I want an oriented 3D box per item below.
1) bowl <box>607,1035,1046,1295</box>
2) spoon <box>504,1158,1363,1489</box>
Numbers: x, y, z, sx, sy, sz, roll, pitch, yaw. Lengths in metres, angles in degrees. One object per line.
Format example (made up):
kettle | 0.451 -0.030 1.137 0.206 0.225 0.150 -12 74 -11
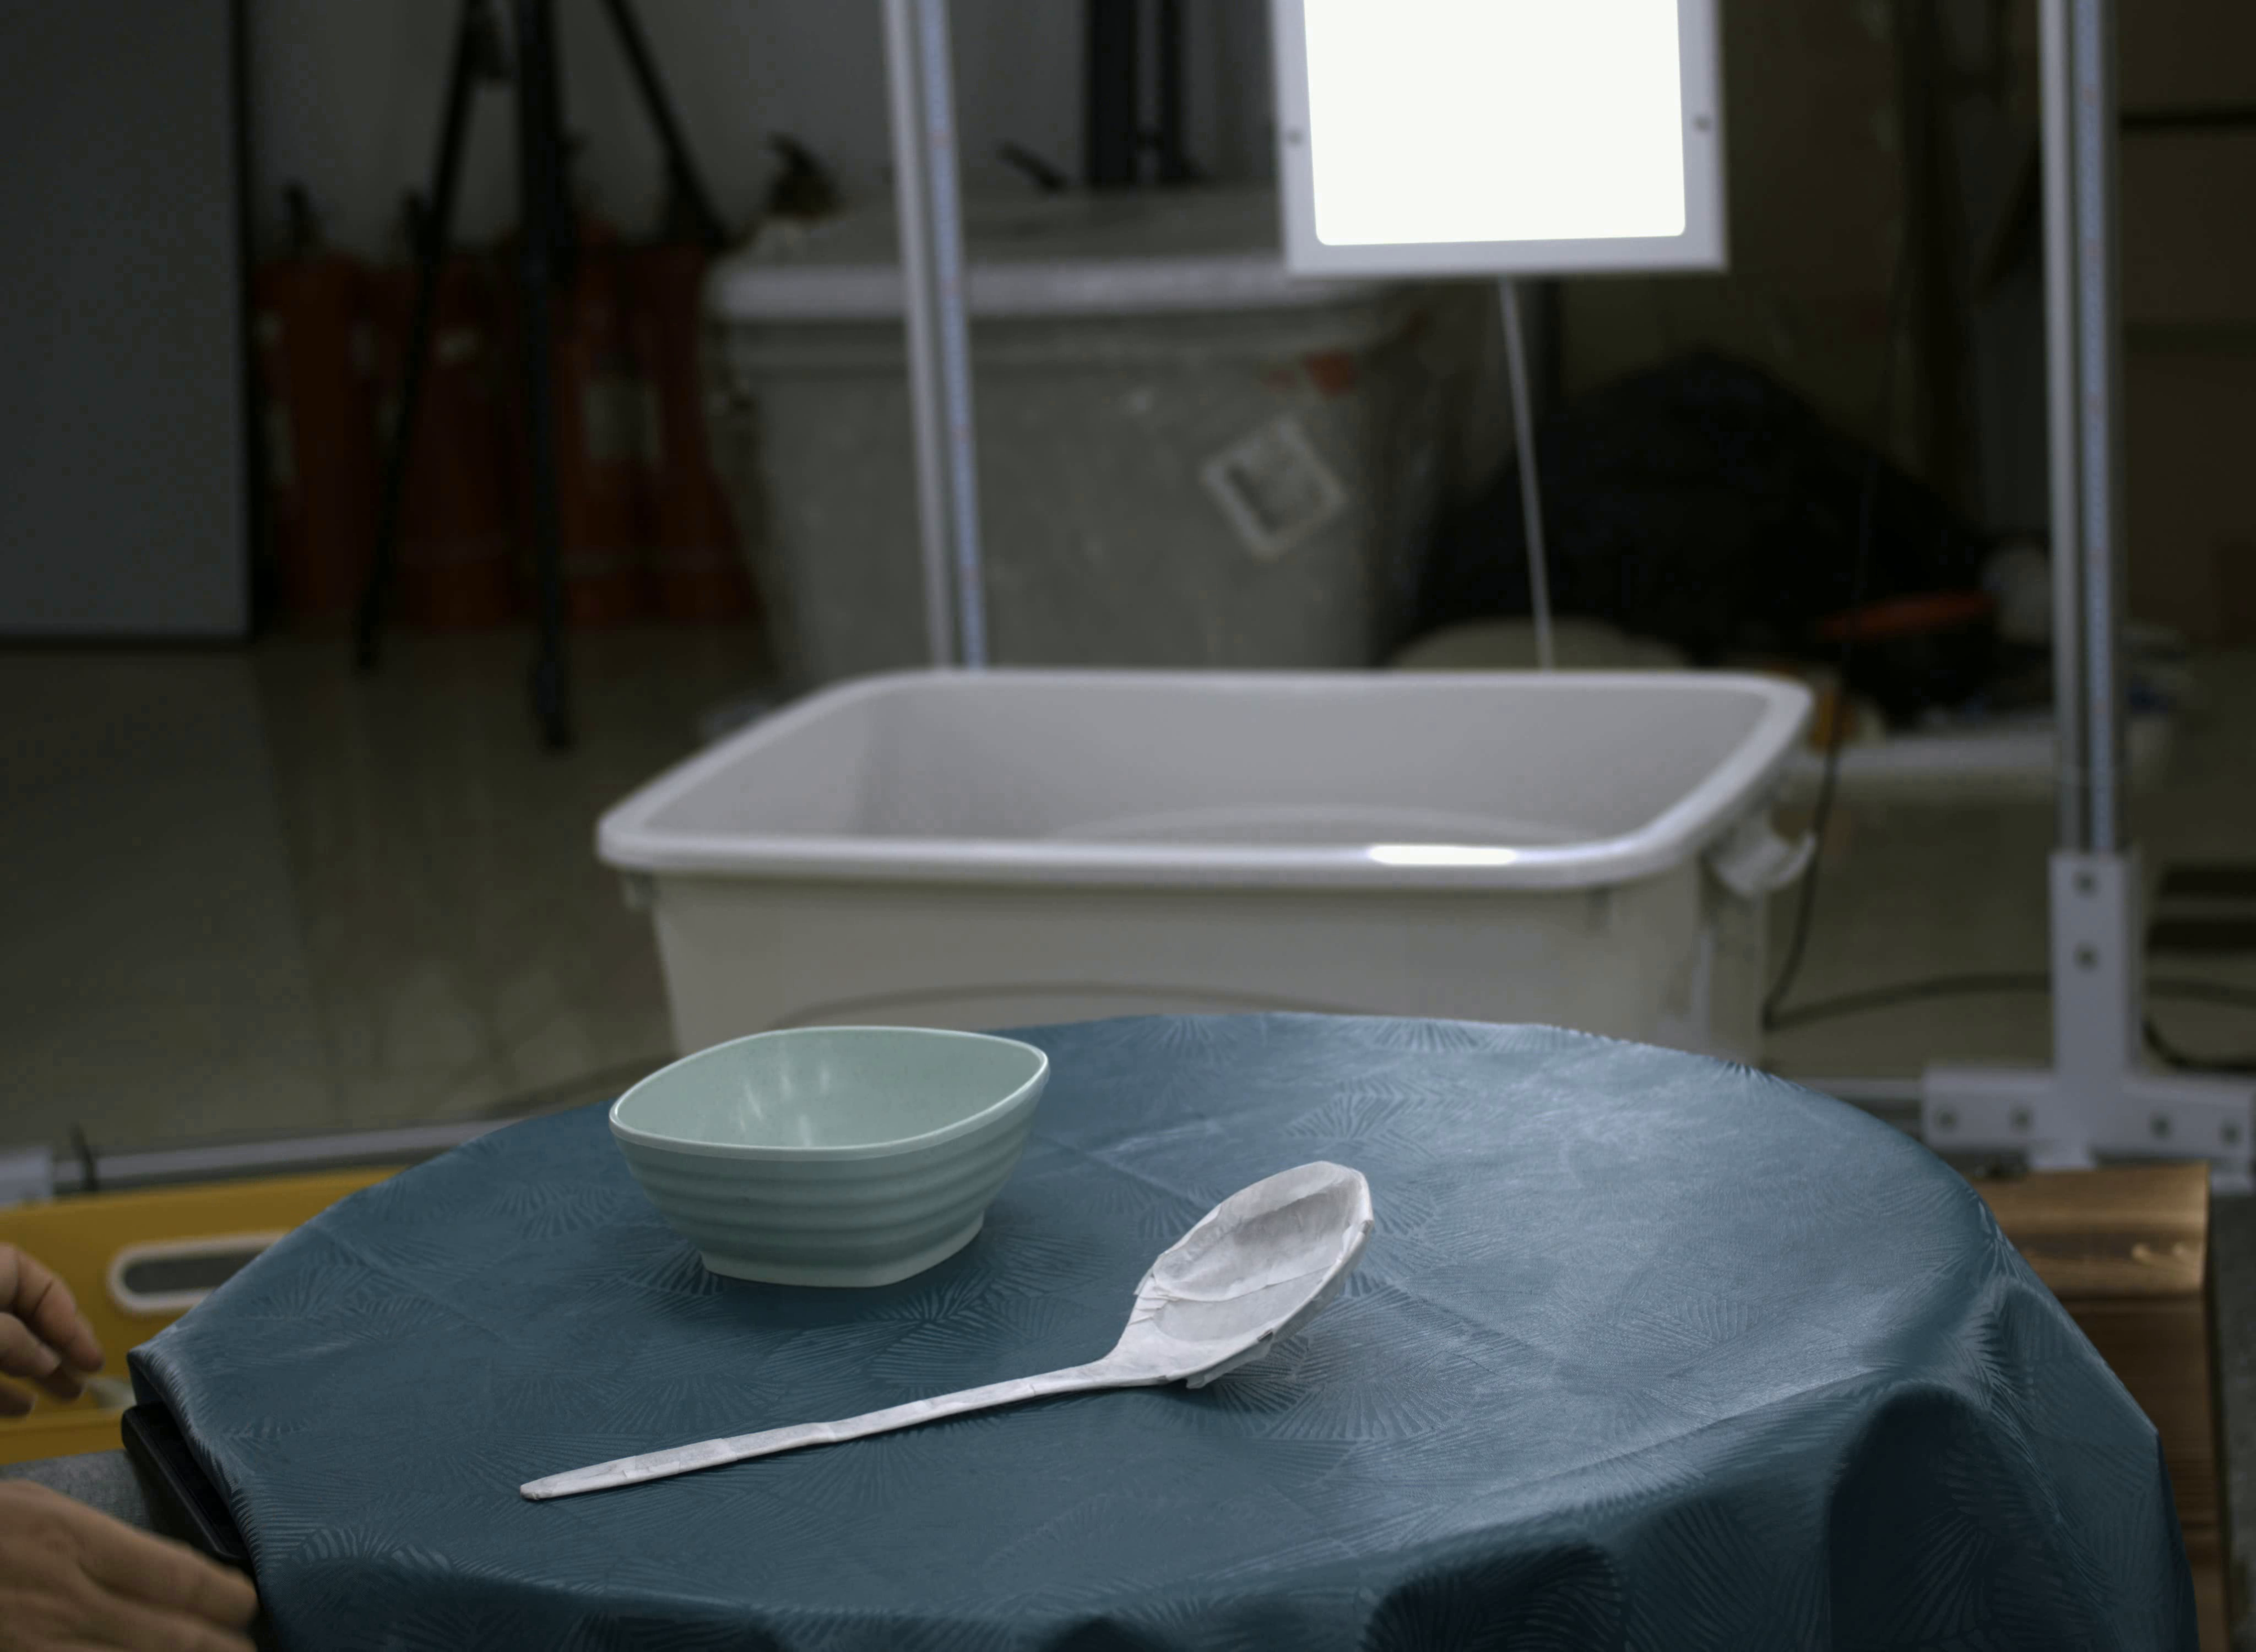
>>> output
bowl | -0.099 0.117 1.861 0.151 0.059 0.151 -5 13 0
spoon | -0.059 0.152 1.697 0.273 0.059 0.101 -8 10 -13
